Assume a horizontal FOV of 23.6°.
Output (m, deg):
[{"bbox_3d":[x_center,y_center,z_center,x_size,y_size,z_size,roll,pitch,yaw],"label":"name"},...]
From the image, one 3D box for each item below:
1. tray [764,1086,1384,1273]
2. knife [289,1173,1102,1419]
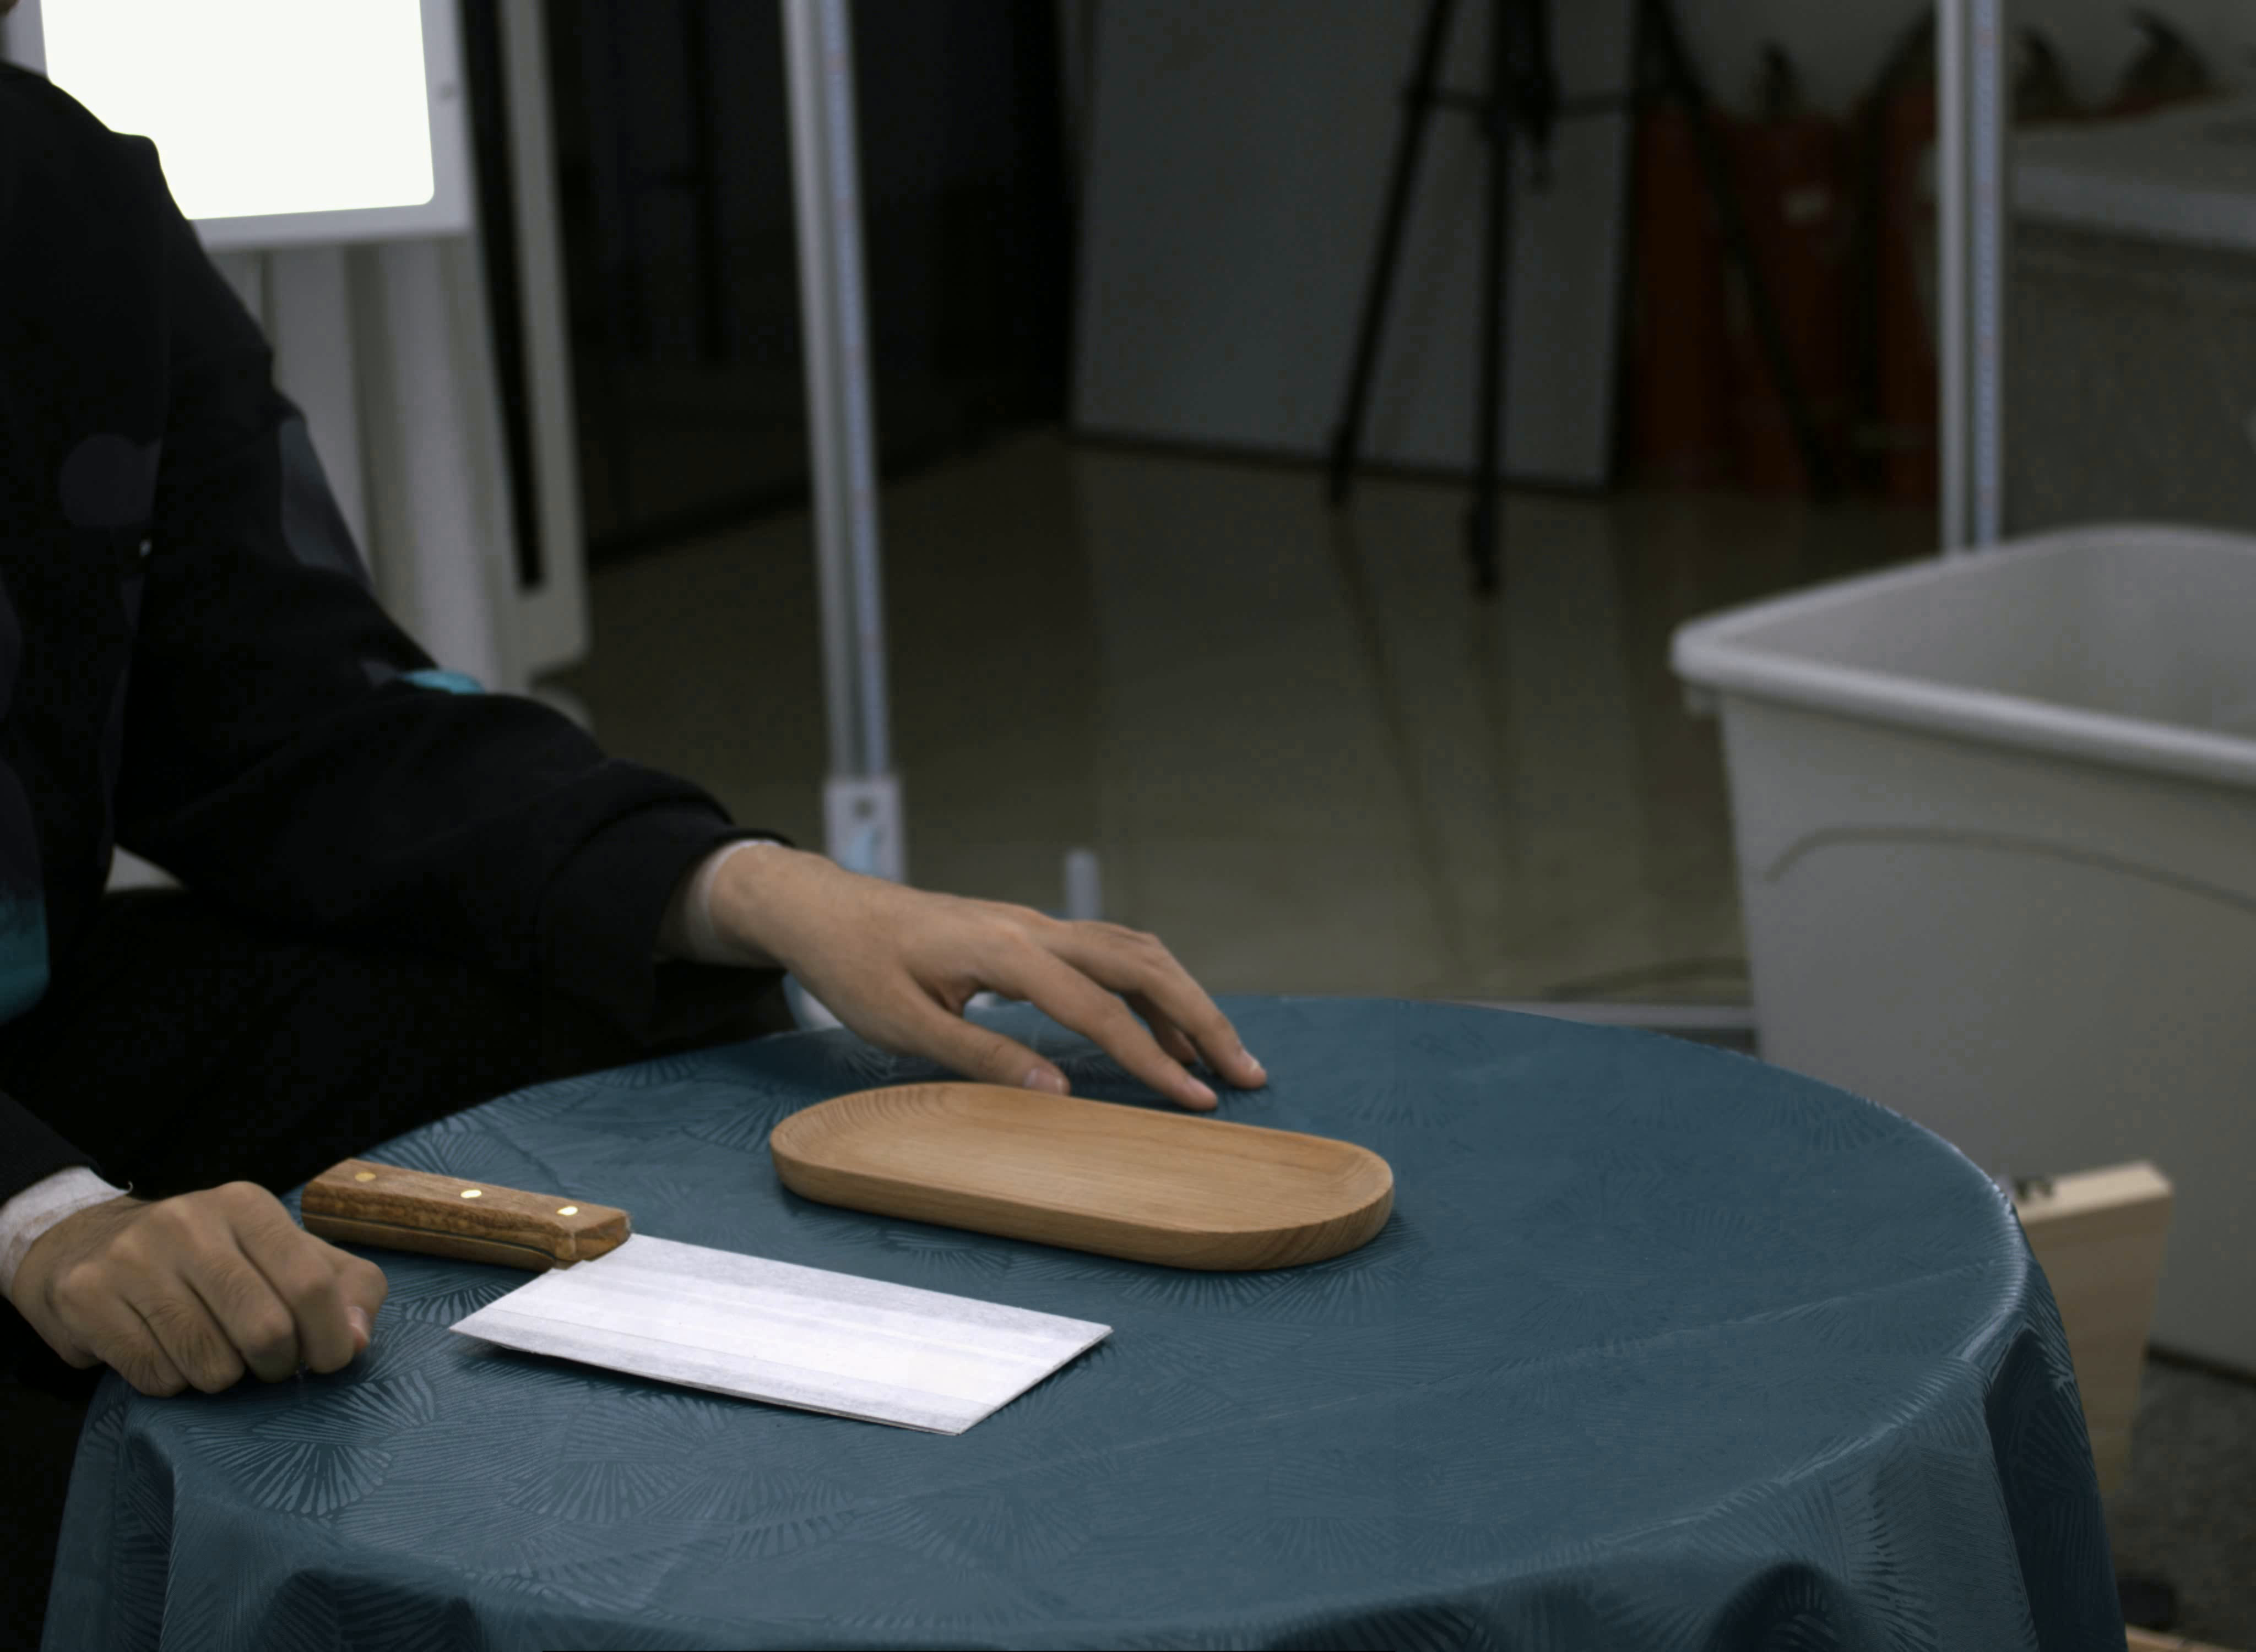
[{"bbox_3d":[-0.019,0.115,1.766,0.233,0.020,0.100,5,16,37],"label":"tray"},{"bbox_3d":[-0.153,0.148,1.677,0.307,0.021,0.091,7,20,33],"label":"knife"}]
